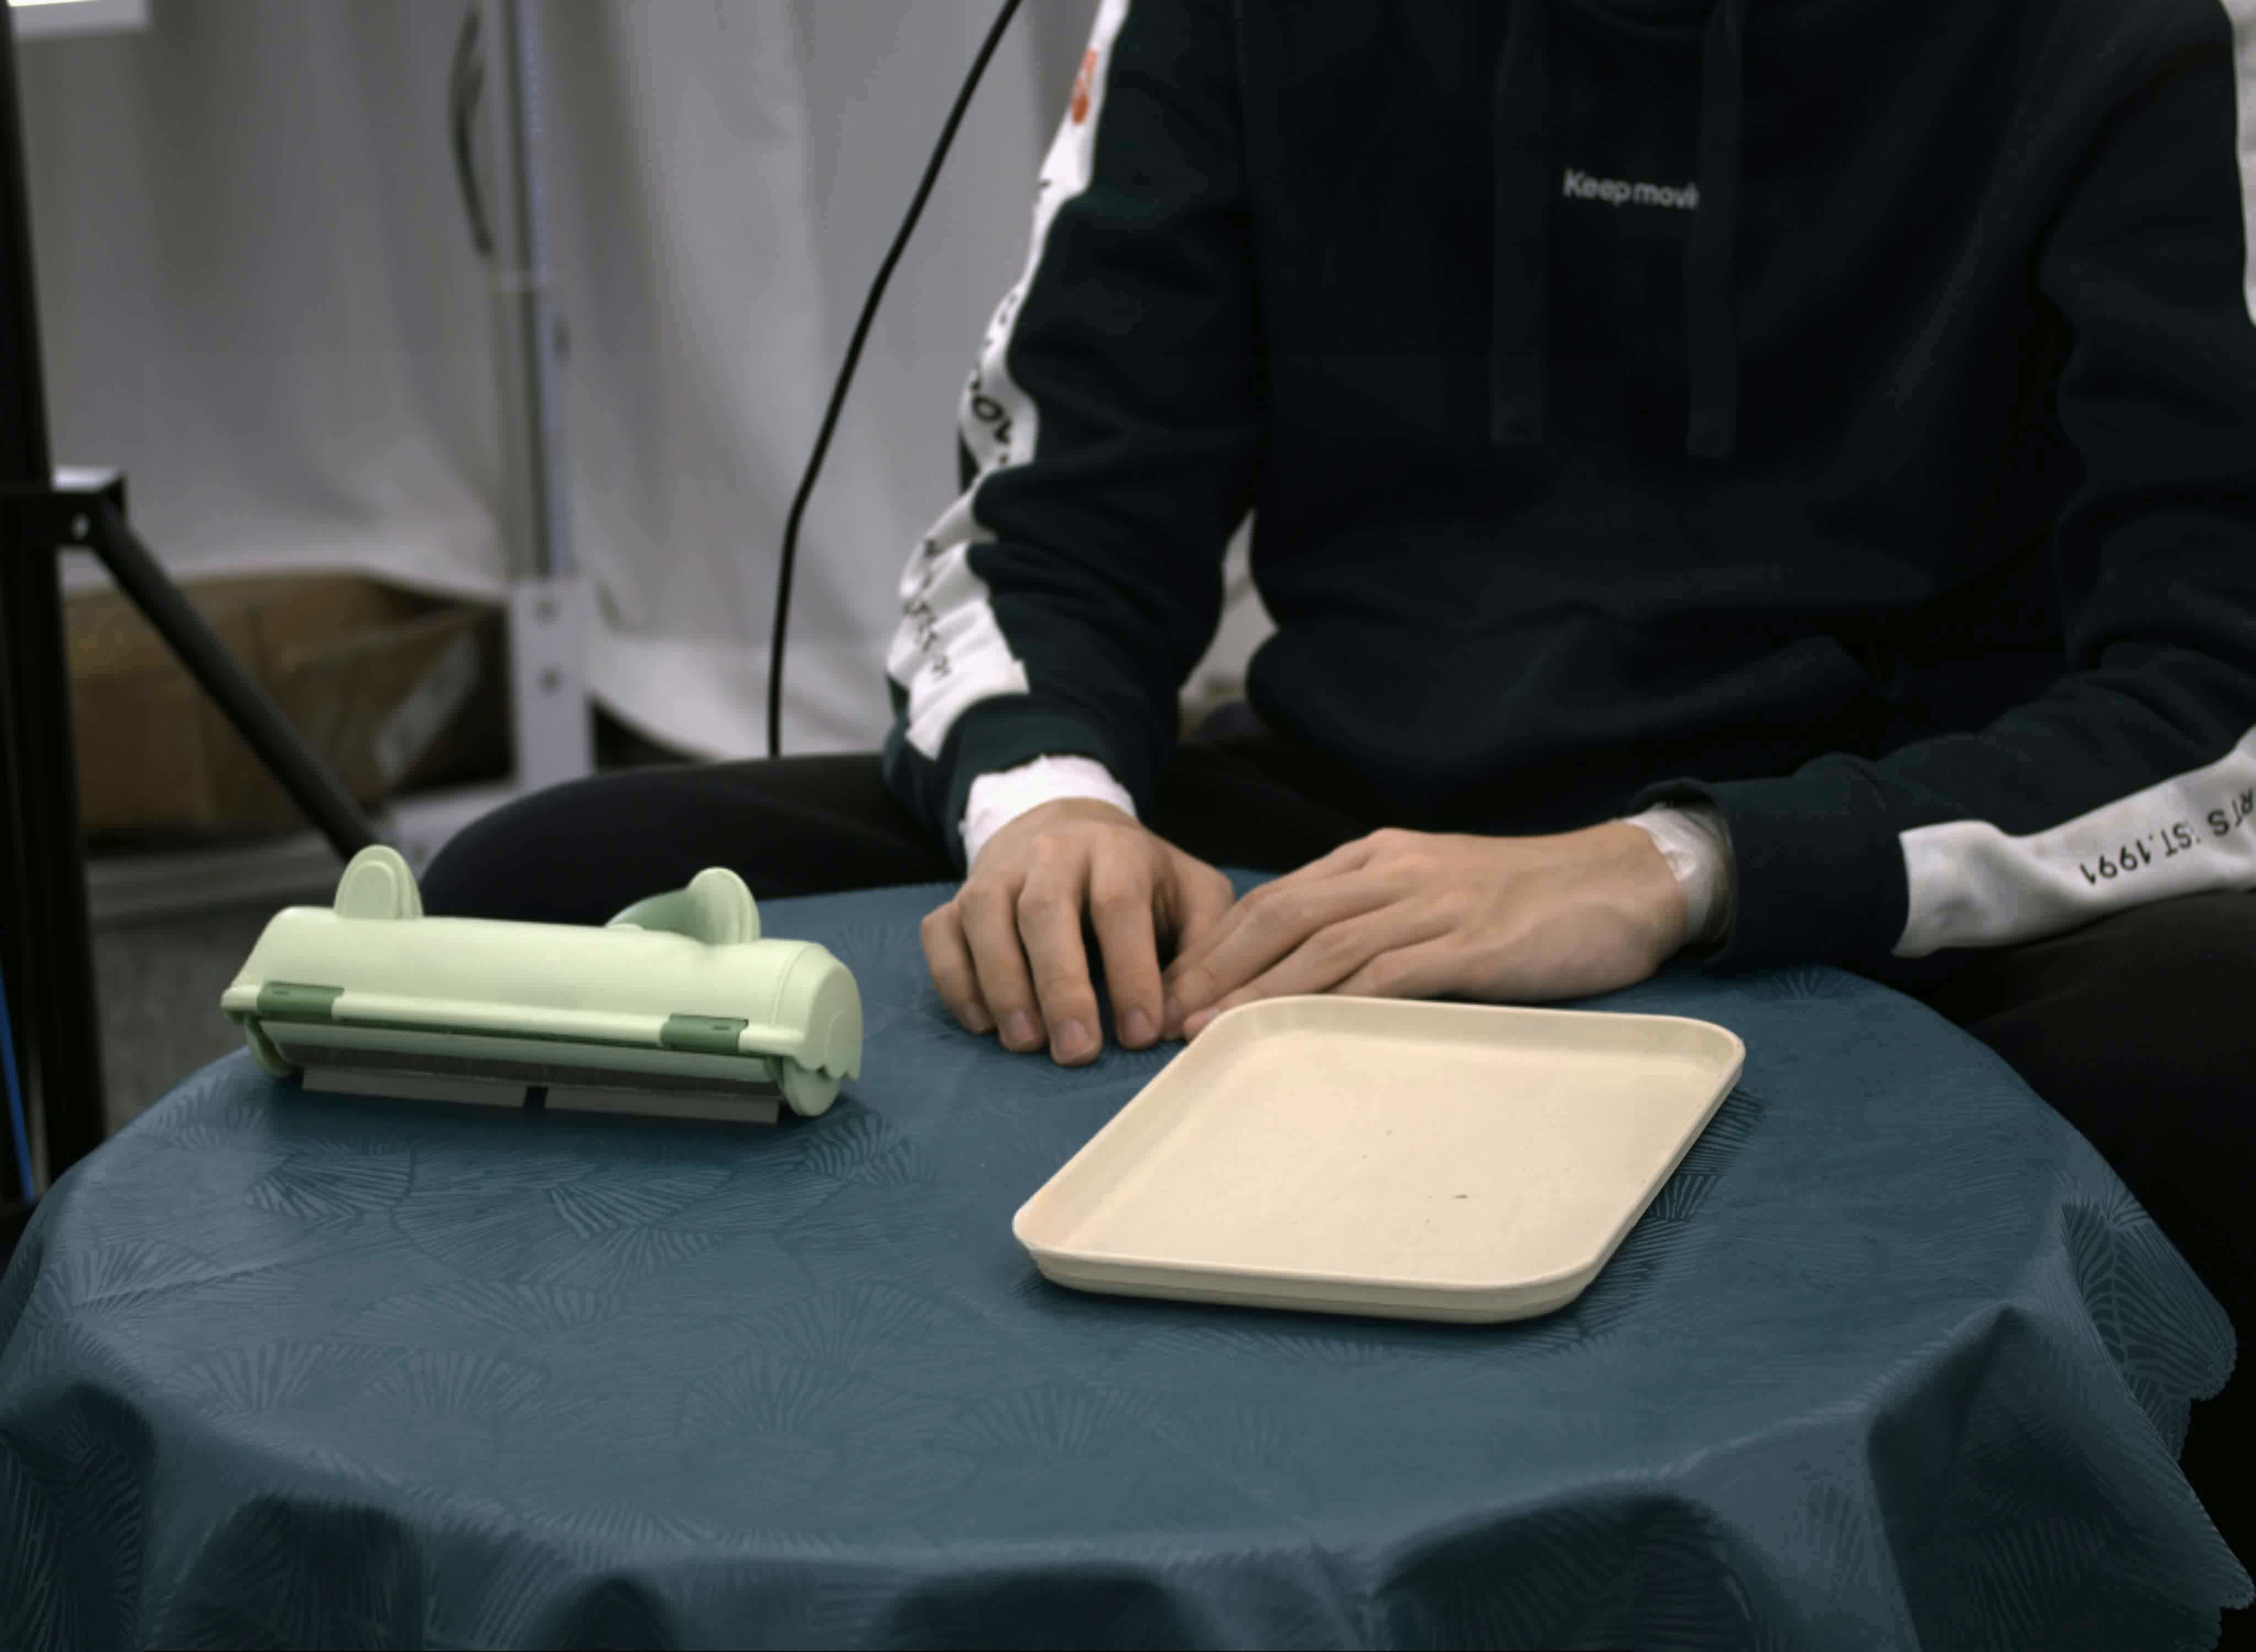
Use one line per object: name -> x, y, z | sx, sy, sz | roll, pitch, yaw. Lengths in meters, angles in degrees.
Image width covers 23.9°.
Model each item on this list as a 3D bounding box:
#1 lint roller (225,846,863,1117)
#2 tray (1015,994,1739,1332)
lint roller -> -0.164, 0.032, 1.712 | 0.201, 0.082, 0.181 | 3, 21, 20
tray -> 0.077, 0.097, 1.550 | 0.173, 0.017, 0.237 | 4, 17, 19
